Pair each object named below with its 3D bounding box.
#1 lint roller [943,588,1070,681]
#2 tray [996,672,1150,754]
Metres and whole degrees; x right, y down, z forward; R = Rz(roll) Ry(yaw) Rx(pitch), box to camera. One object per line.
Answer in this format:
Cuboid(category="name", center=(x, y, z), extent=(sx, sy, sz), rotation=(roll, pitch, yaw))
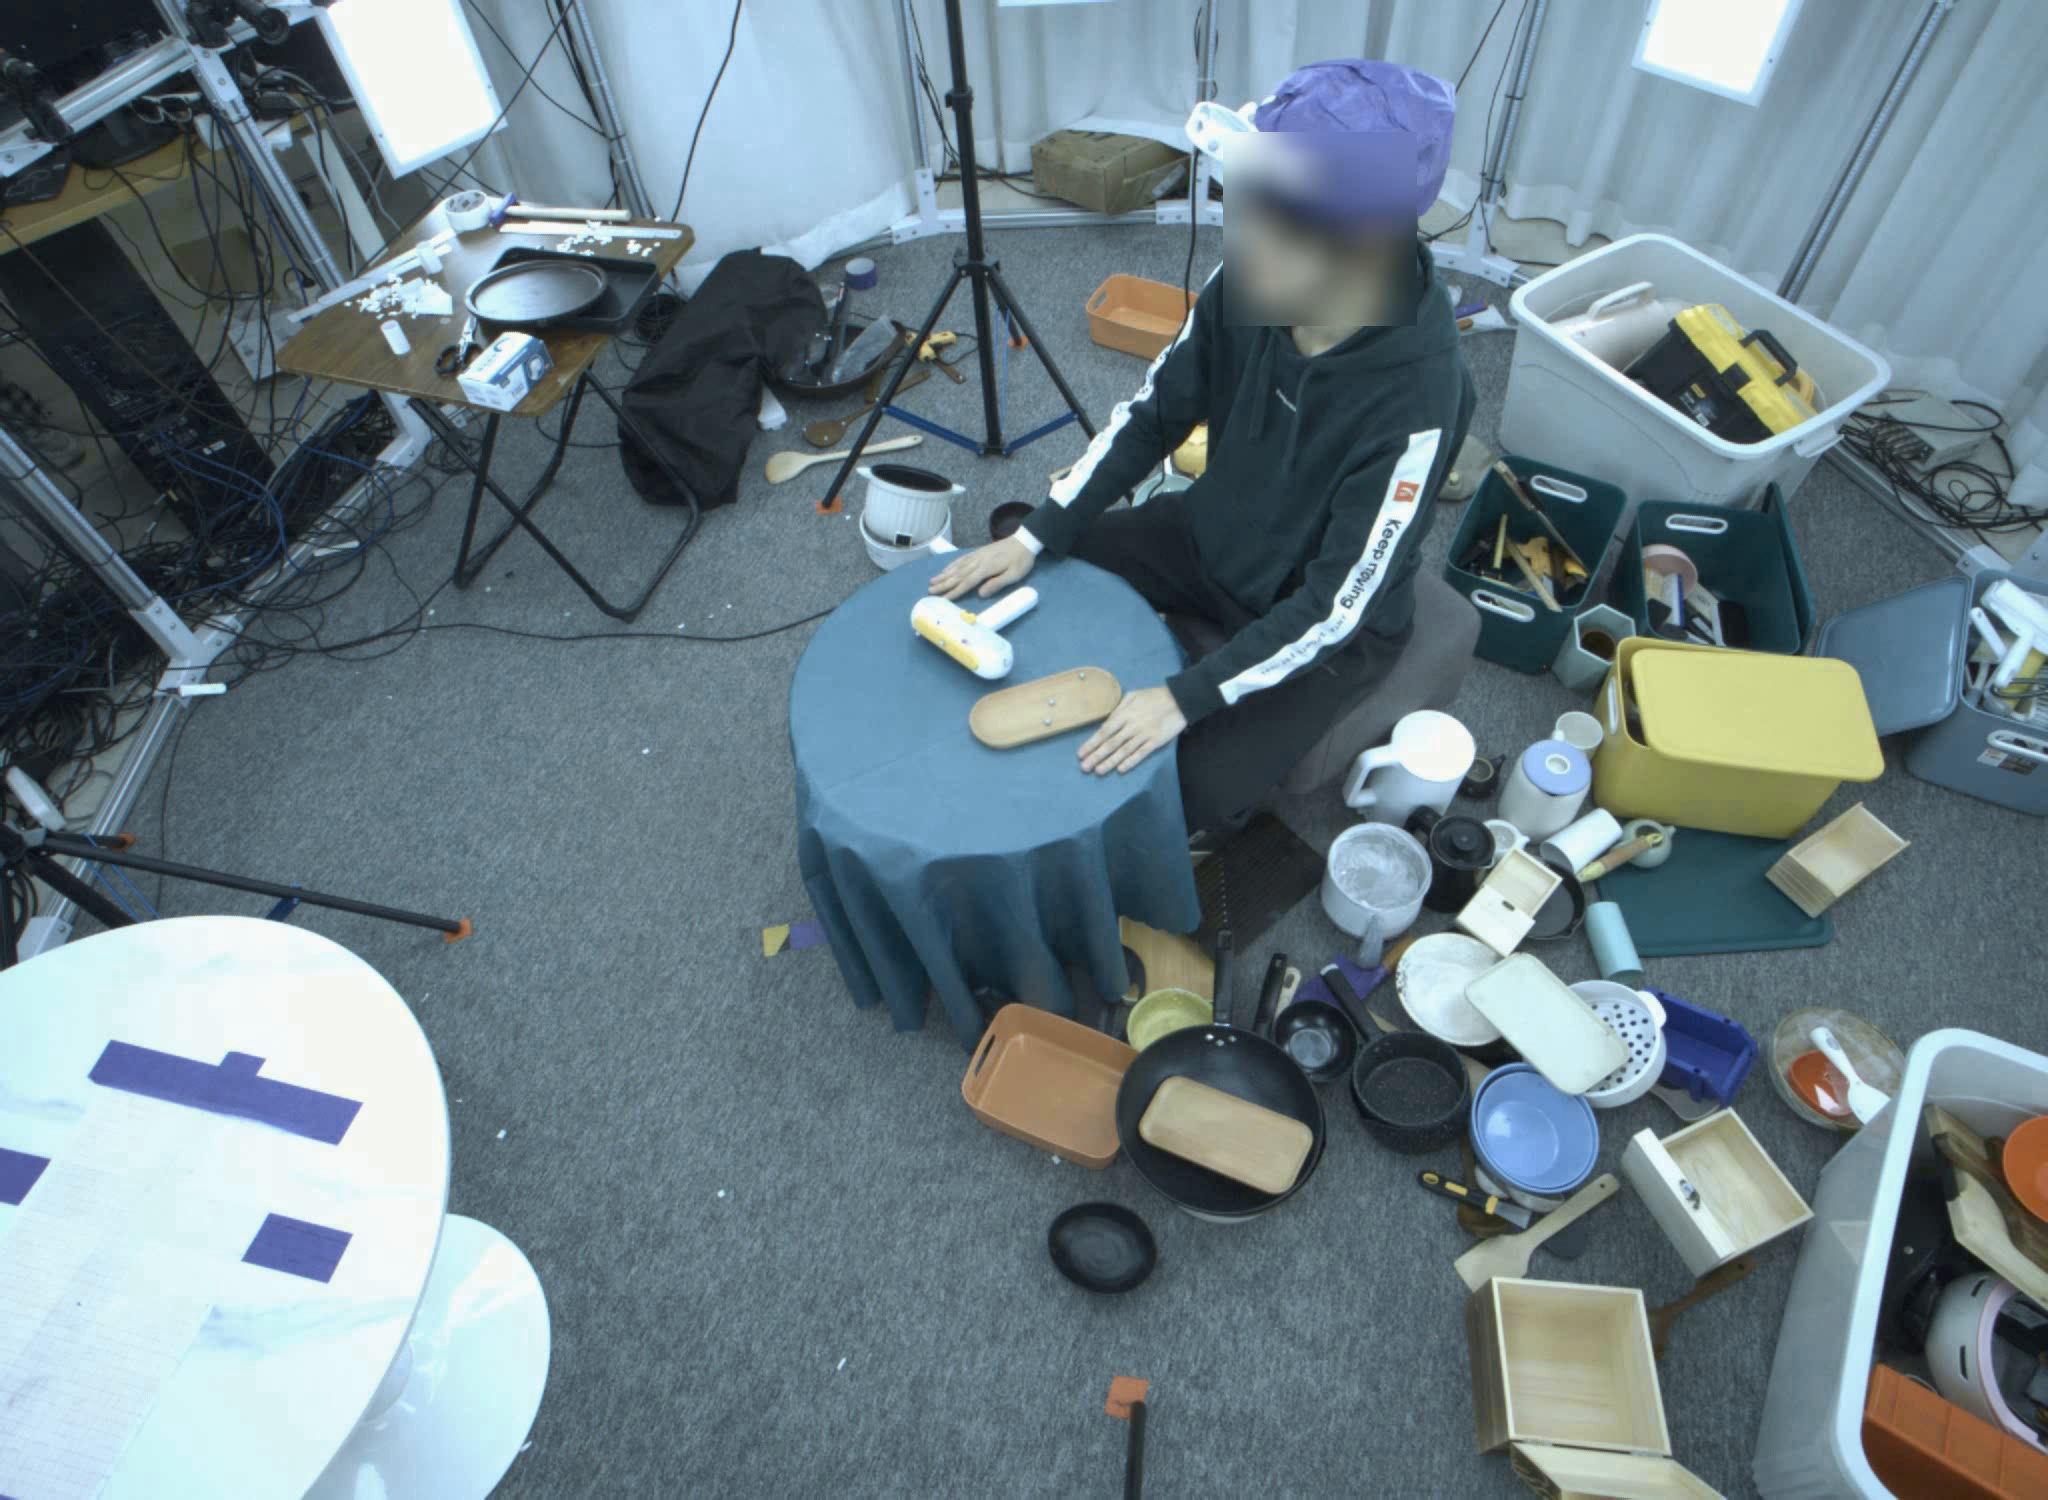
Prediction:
Cuboid(category="lint roller", center=(-0.003, -0.194, 1.891), extent=(0.189, 0.074, 0.195), rotation=(32, 42, 30))
Cuboid(category="tray", center=(0.072, -0.053, 1.808), extent=(0.232, 0.020, 0.100), rotation=(-16, 55, -8))
